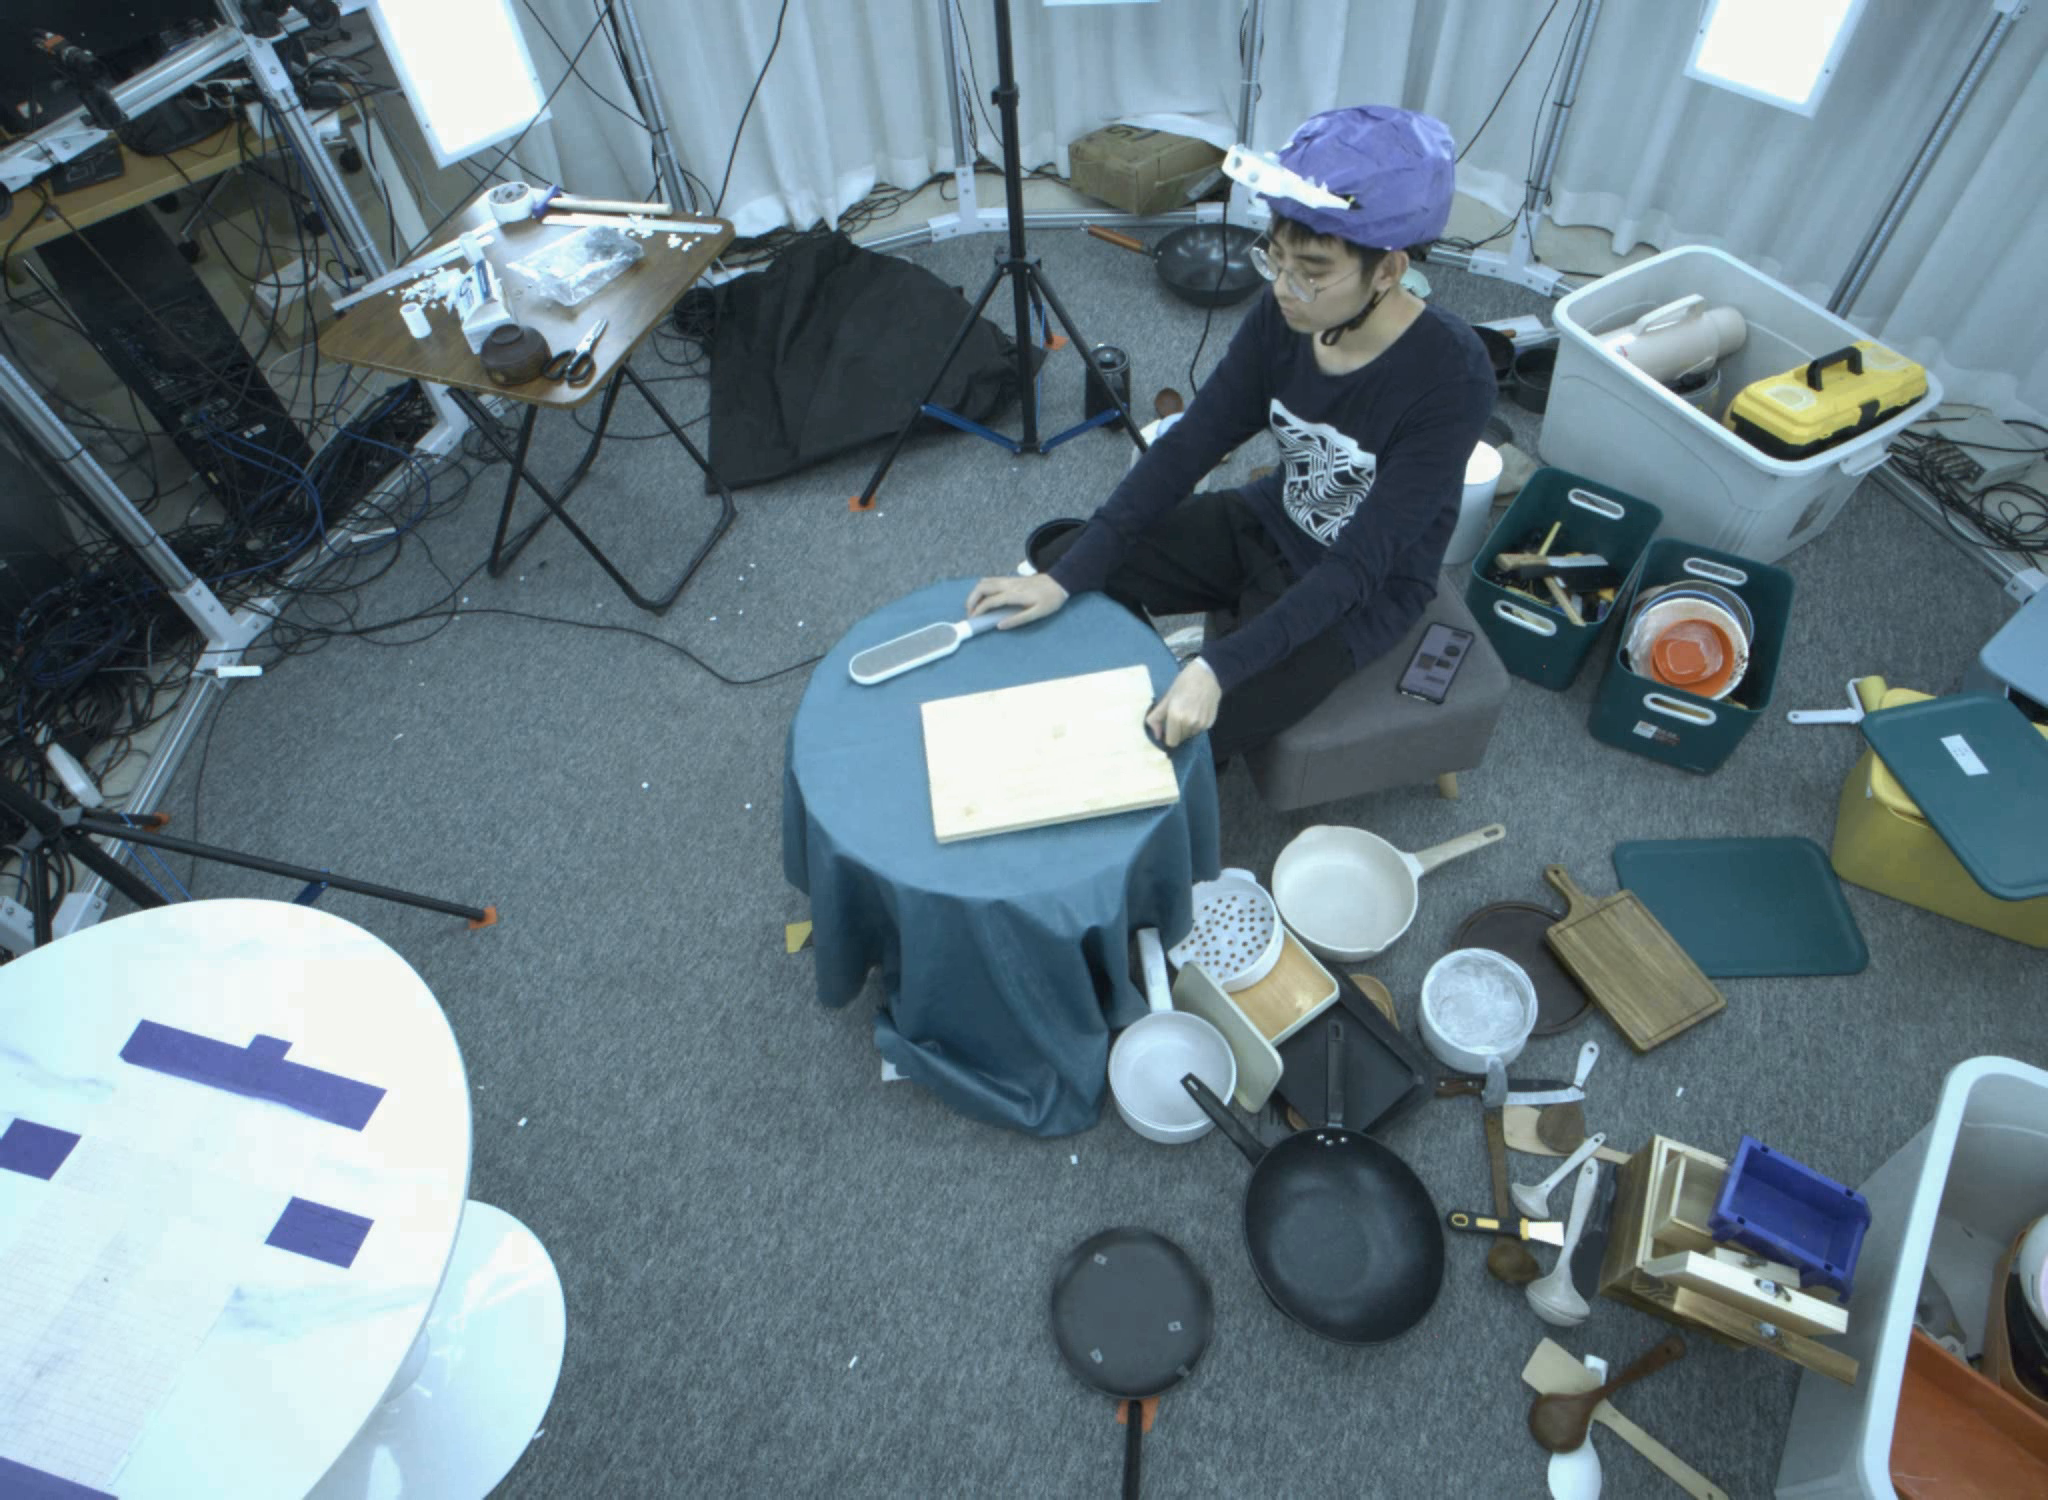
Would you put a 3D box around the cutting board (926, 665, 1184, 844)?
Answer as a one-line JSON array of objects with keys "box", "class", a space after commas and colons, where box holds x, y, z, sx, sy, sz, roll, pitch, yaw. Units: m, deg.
[{"box": [0.035, 0.001, 1.774, 0.349, 0.024, 0.247, -10, 55, -3], "class": "cutting board"}]

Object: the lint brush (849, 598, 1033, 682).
[{"box": [-0.126, -0.174, 1.905, 0.311, 0.021, 0.059, -22, 53, -14], "class": "lint brush"}]
